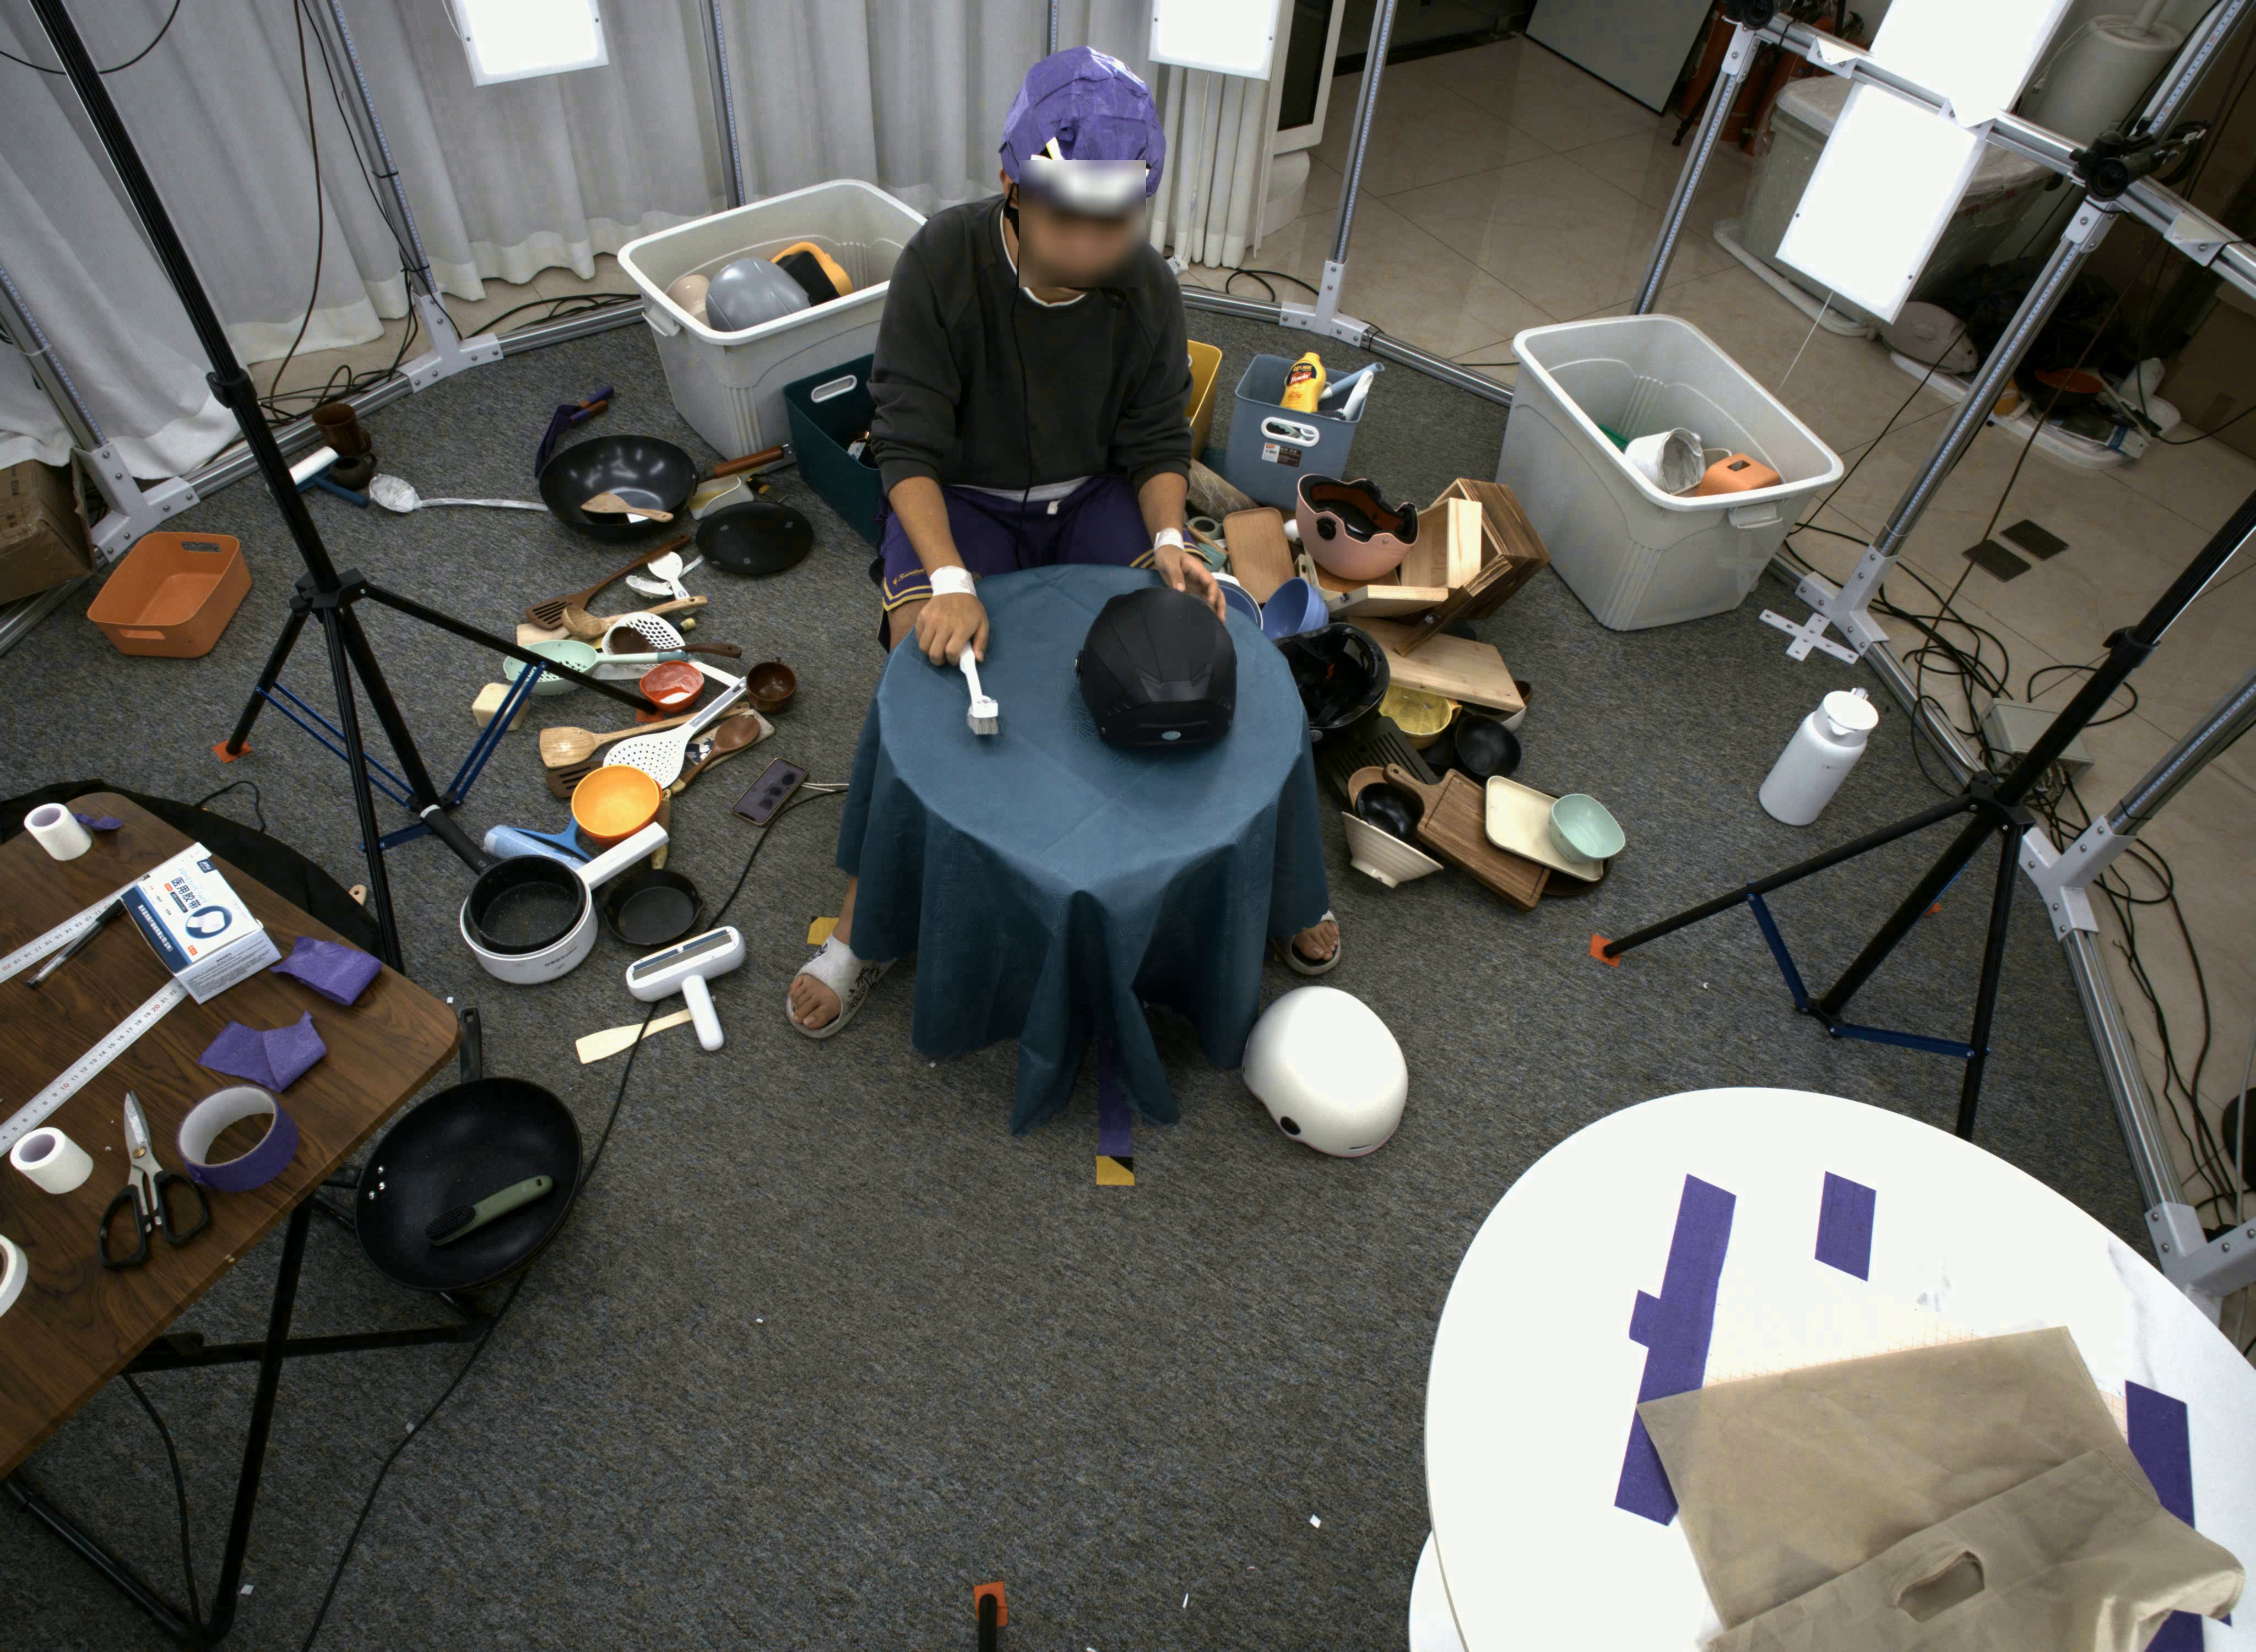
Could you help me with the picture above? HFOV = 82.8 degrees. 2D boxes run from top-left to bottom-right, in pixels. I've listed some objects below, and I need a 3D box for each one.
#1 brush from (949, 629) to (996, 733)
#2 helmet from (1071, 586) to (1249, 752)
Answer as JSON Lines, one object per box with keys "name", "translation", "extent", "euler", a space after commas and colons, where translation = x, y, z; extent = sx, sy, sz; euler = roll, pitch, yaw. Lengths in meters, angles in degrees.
{"name": "brush", "translation": [-0.222, -0.203, 1.813], "extent": [0.034, 0.049, 0.249], "euler": [-7, 37, -14]}
{"name": "helmet", "translation": [0.048, -0.236, 1.772], "extent": [0.246, 0.168, 0.283], "euler": [-2, 51, -6]}
